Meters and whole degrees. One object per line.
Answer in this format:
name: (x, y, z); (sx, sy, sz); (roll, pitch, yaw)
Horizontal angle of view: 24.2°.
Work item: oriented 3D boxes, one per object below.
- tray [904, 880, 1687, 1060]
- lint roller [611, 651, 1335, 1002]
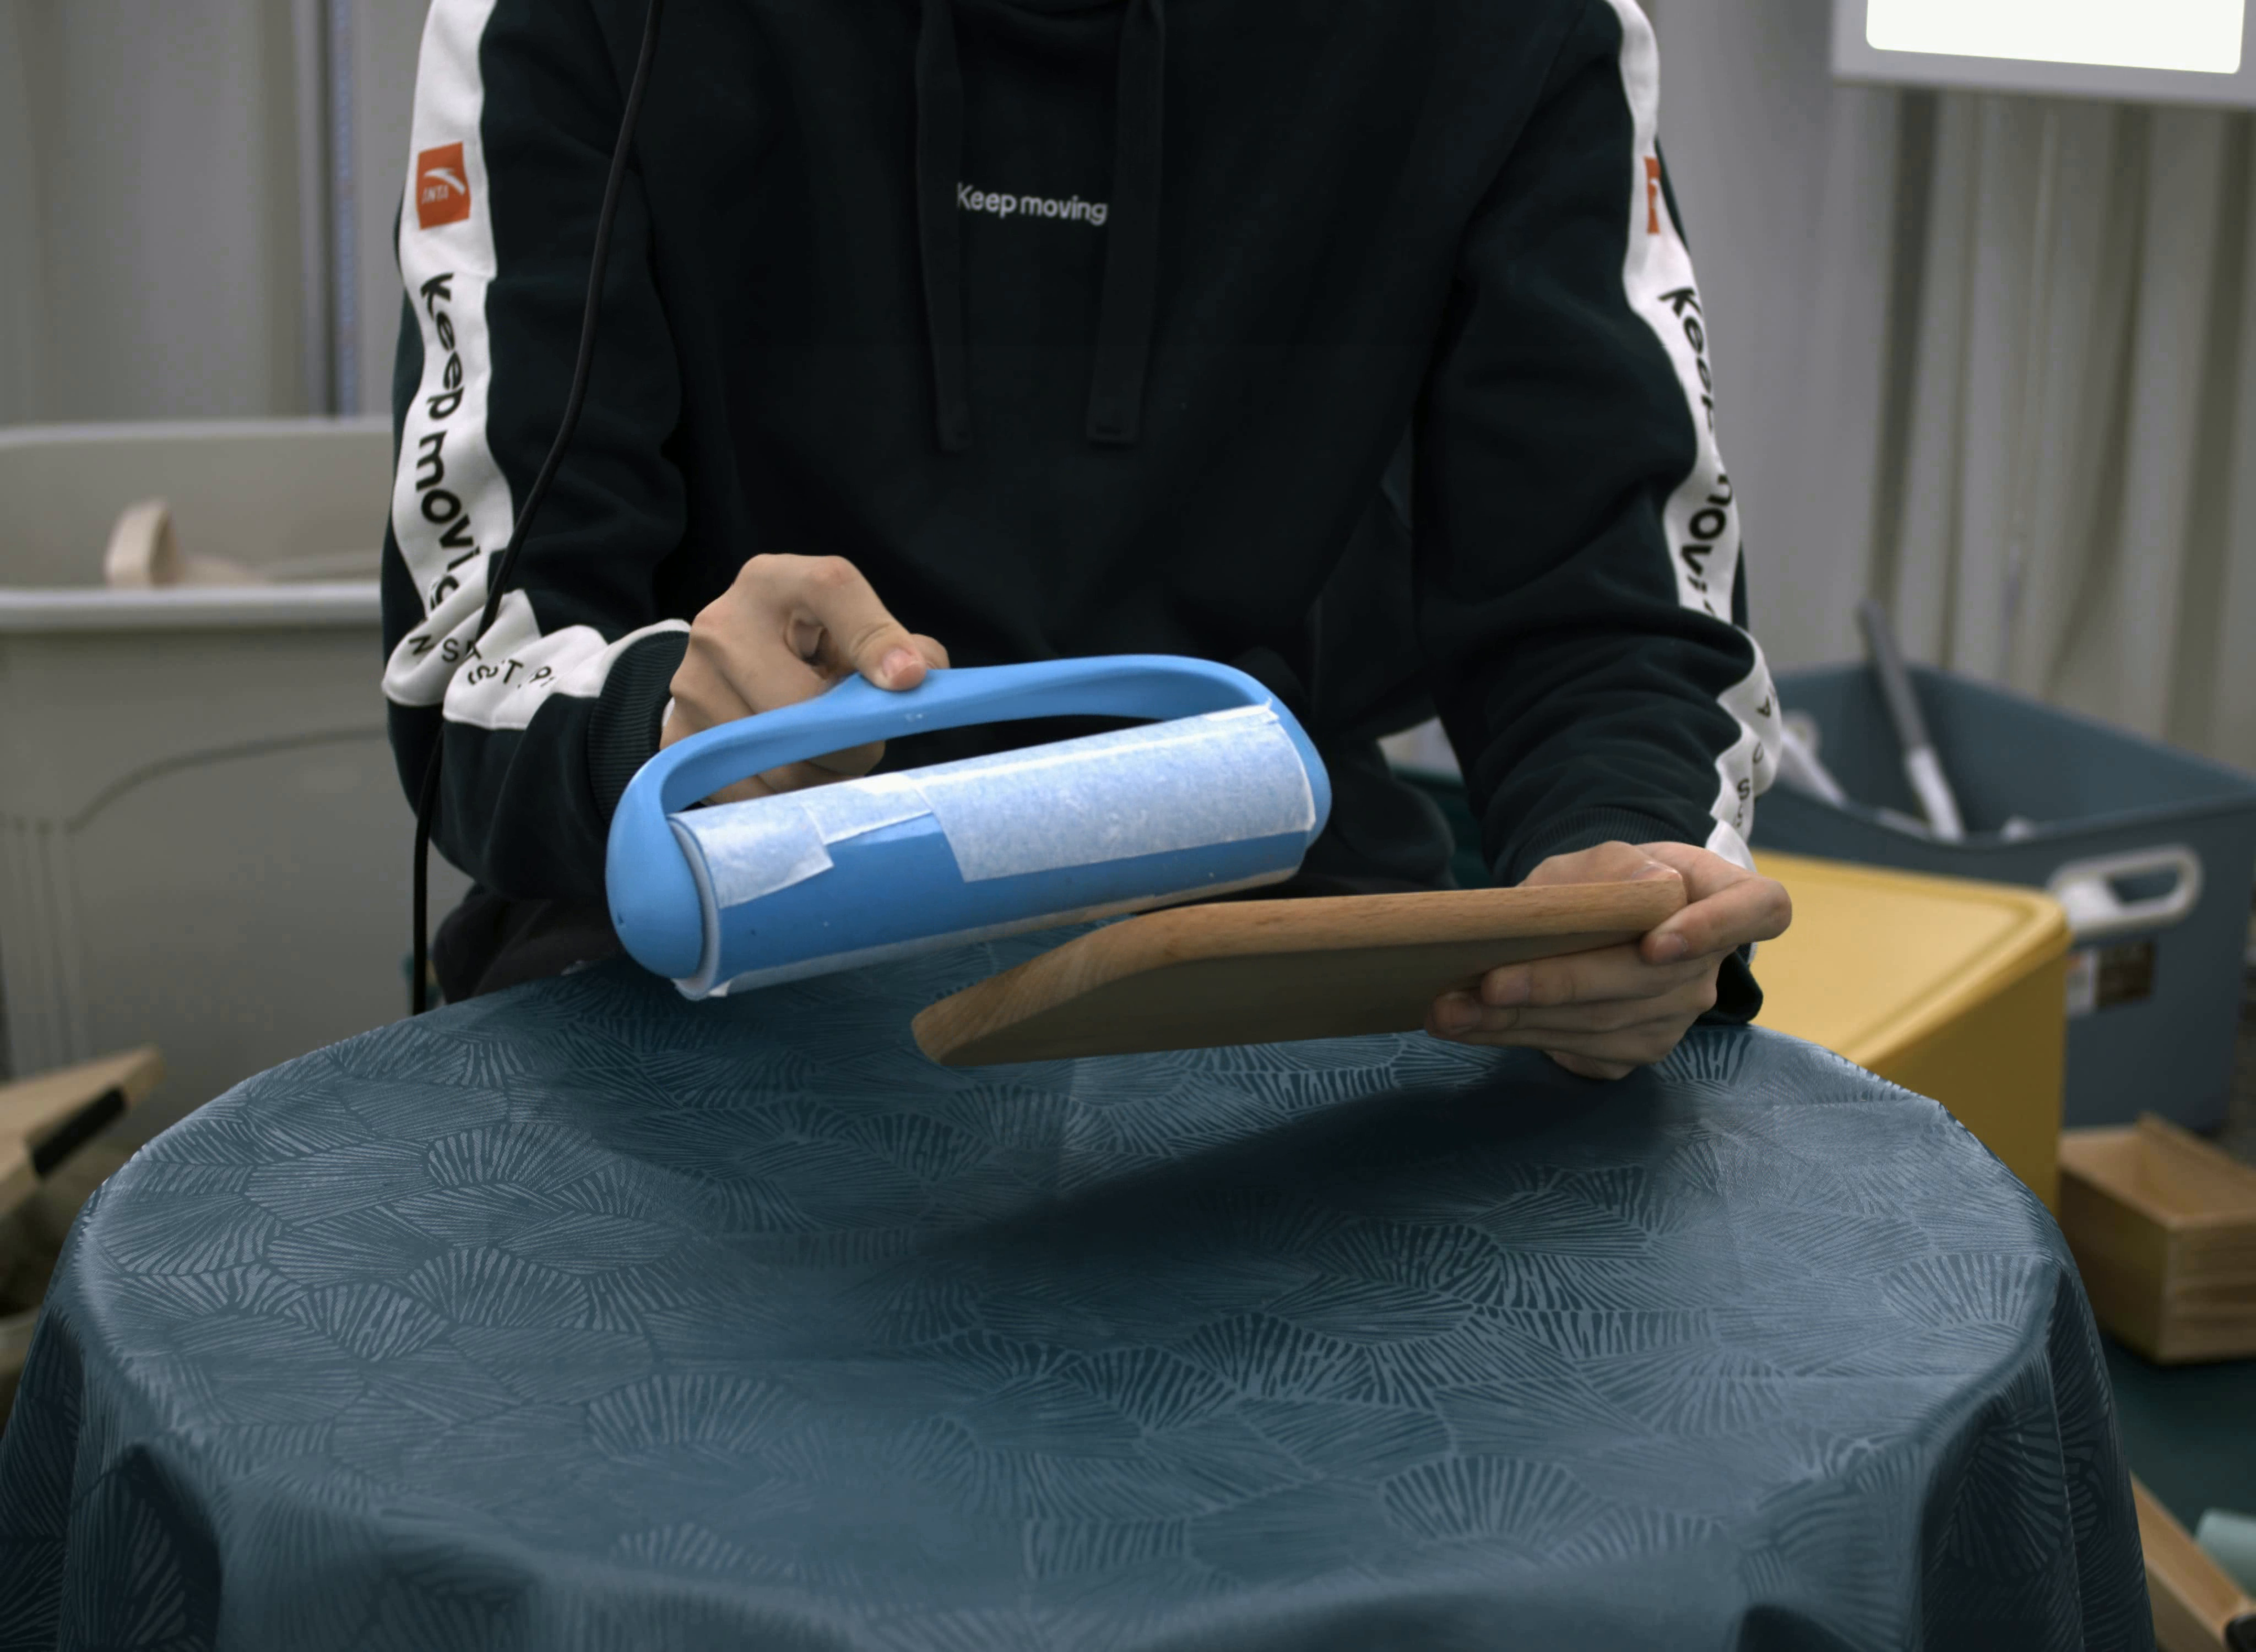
tray: (0.055, 0.044, 1.603); (0.252, 0.023, 0.130); (-2, -19, -44)
lint roller: (-0.072, -0.014, 1.570); (0.229, 0.068, 0.178); (-14, 26, -28)
